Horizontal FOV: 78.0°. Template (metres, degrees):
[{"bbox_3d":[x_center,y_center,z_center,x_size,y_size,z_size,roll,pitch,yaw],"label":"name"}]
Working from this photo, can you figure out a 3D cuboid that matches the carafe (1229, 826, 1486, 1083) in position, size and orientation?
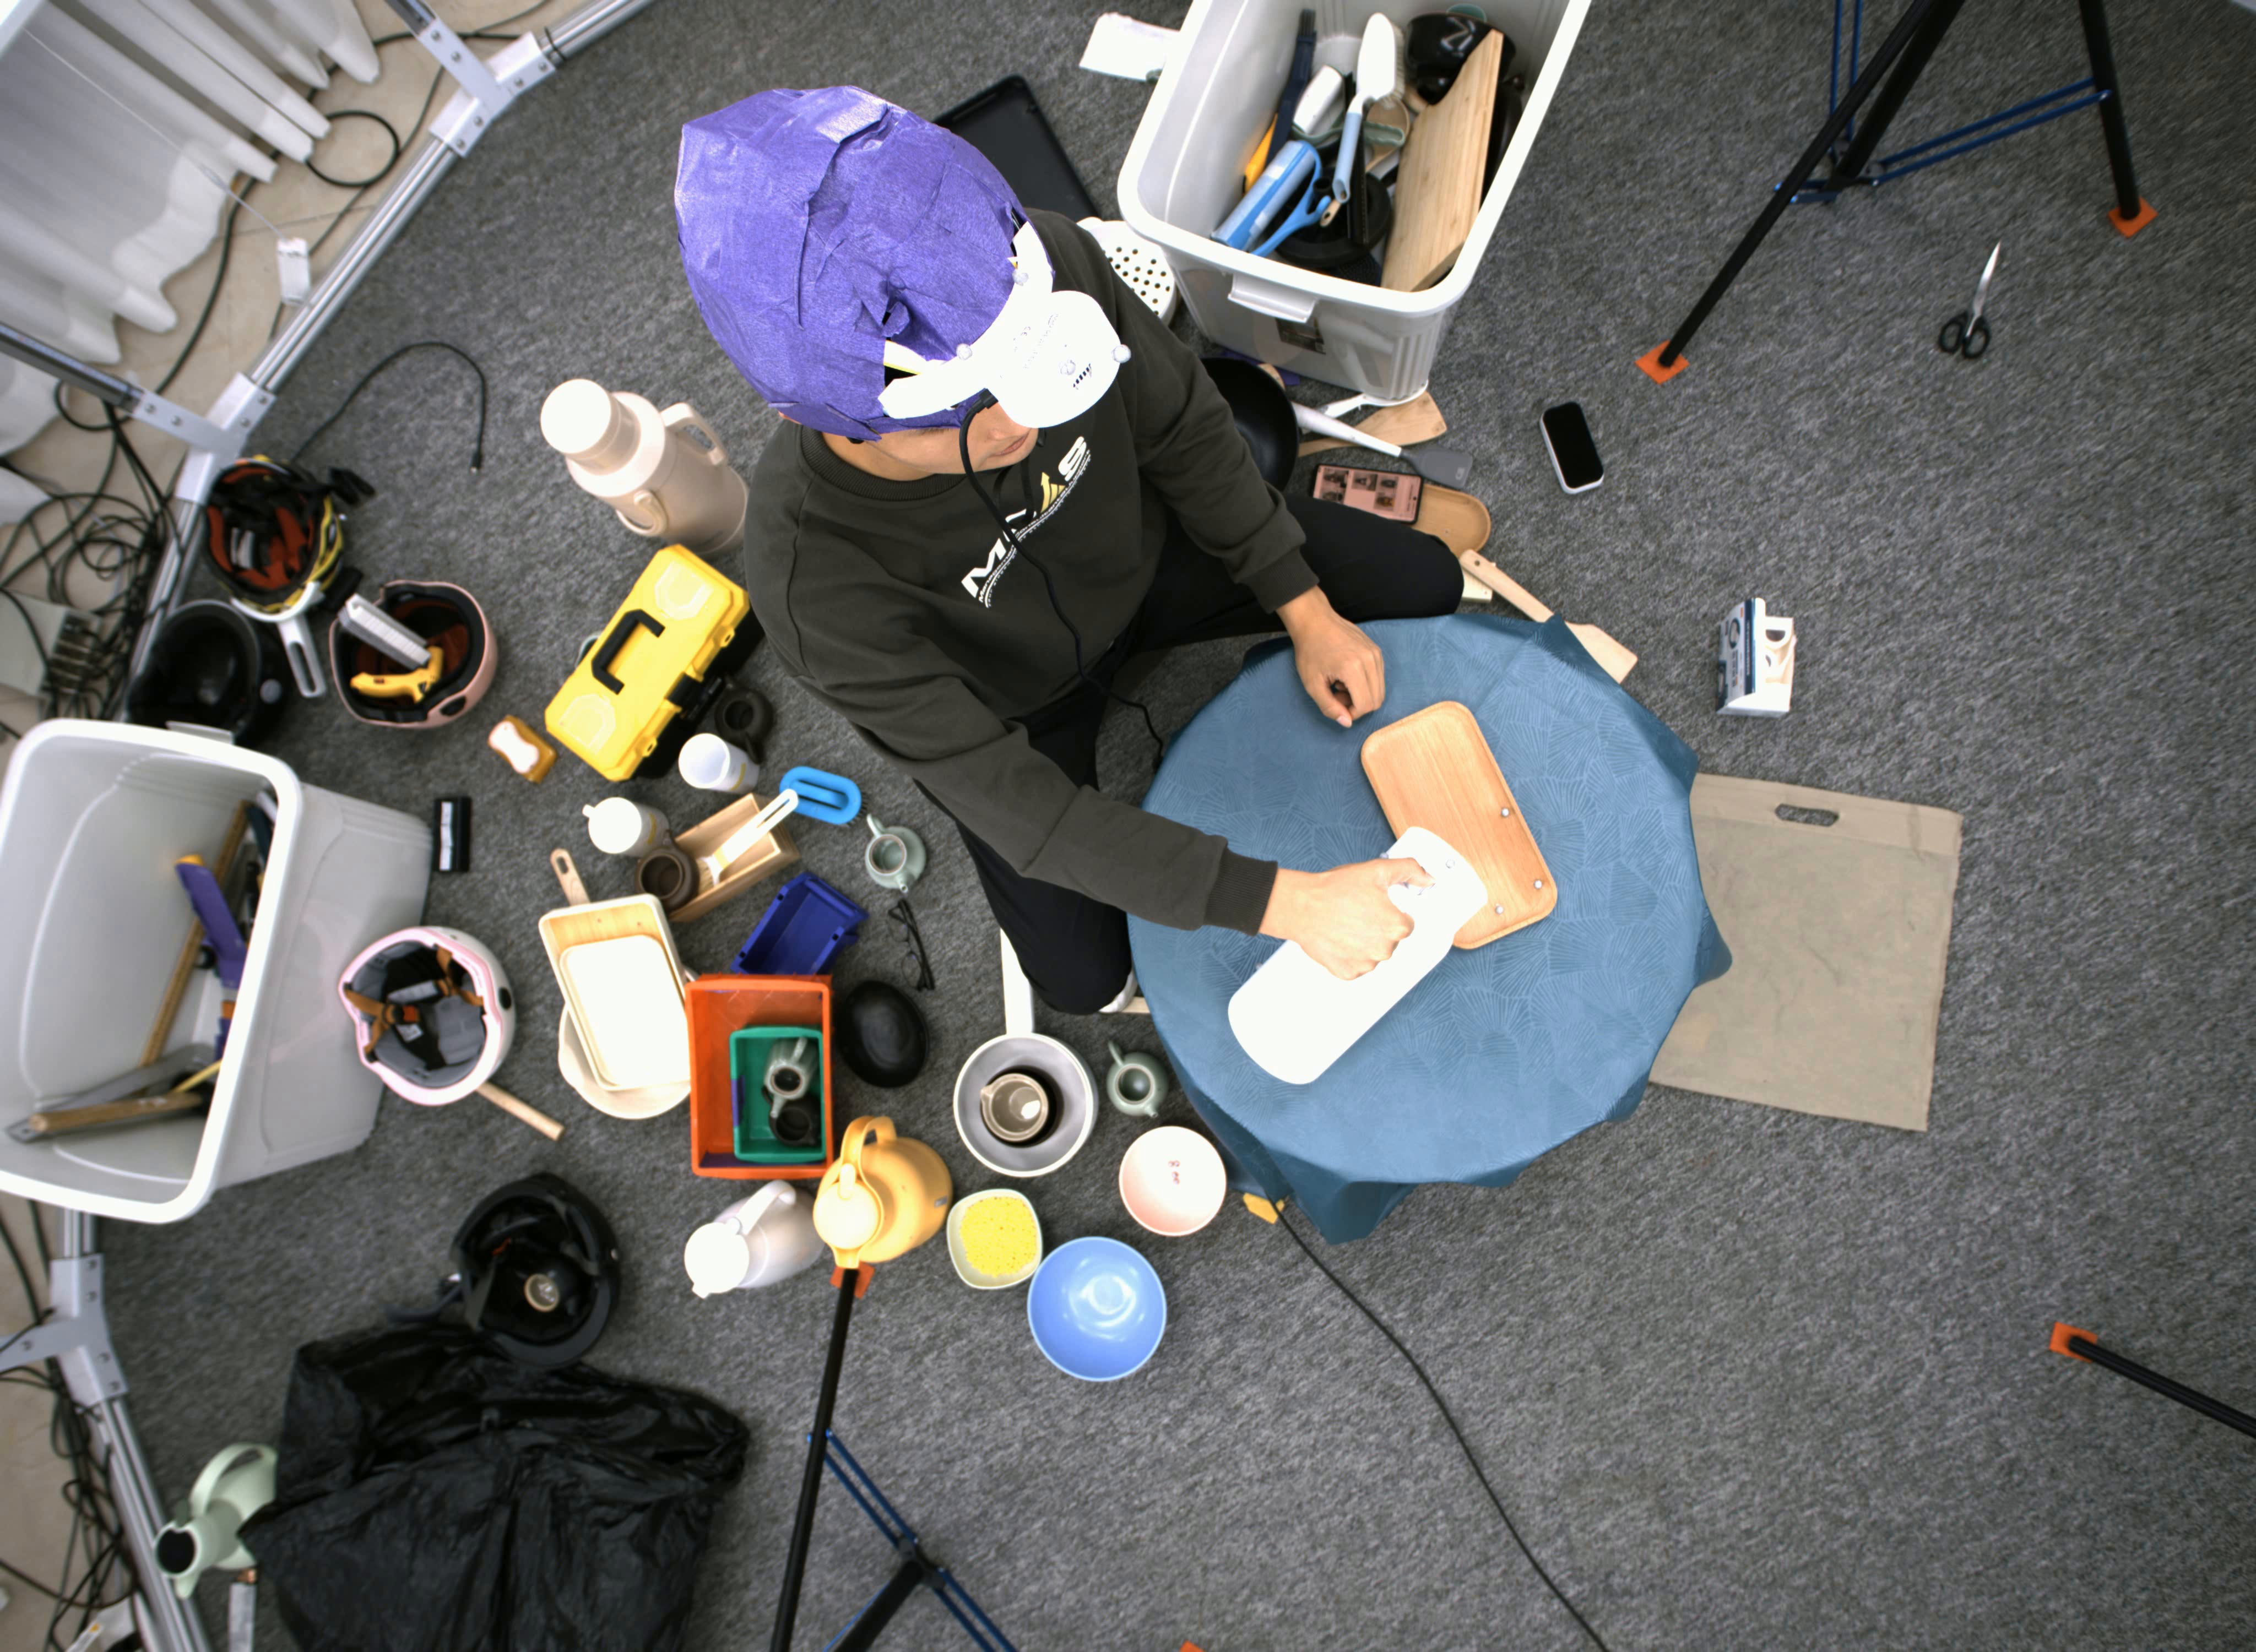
[{"bbox_3d":[0.212,0.128,1.326,0.123,0.170,0.274,49,120,14],"label":"carafe"}]

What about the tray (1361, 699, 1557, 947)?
[{"bbox_3d":[0.345,-0.006,1.442,0.131,0.023,0.249,-23,82,6],"label":"tray"}]
